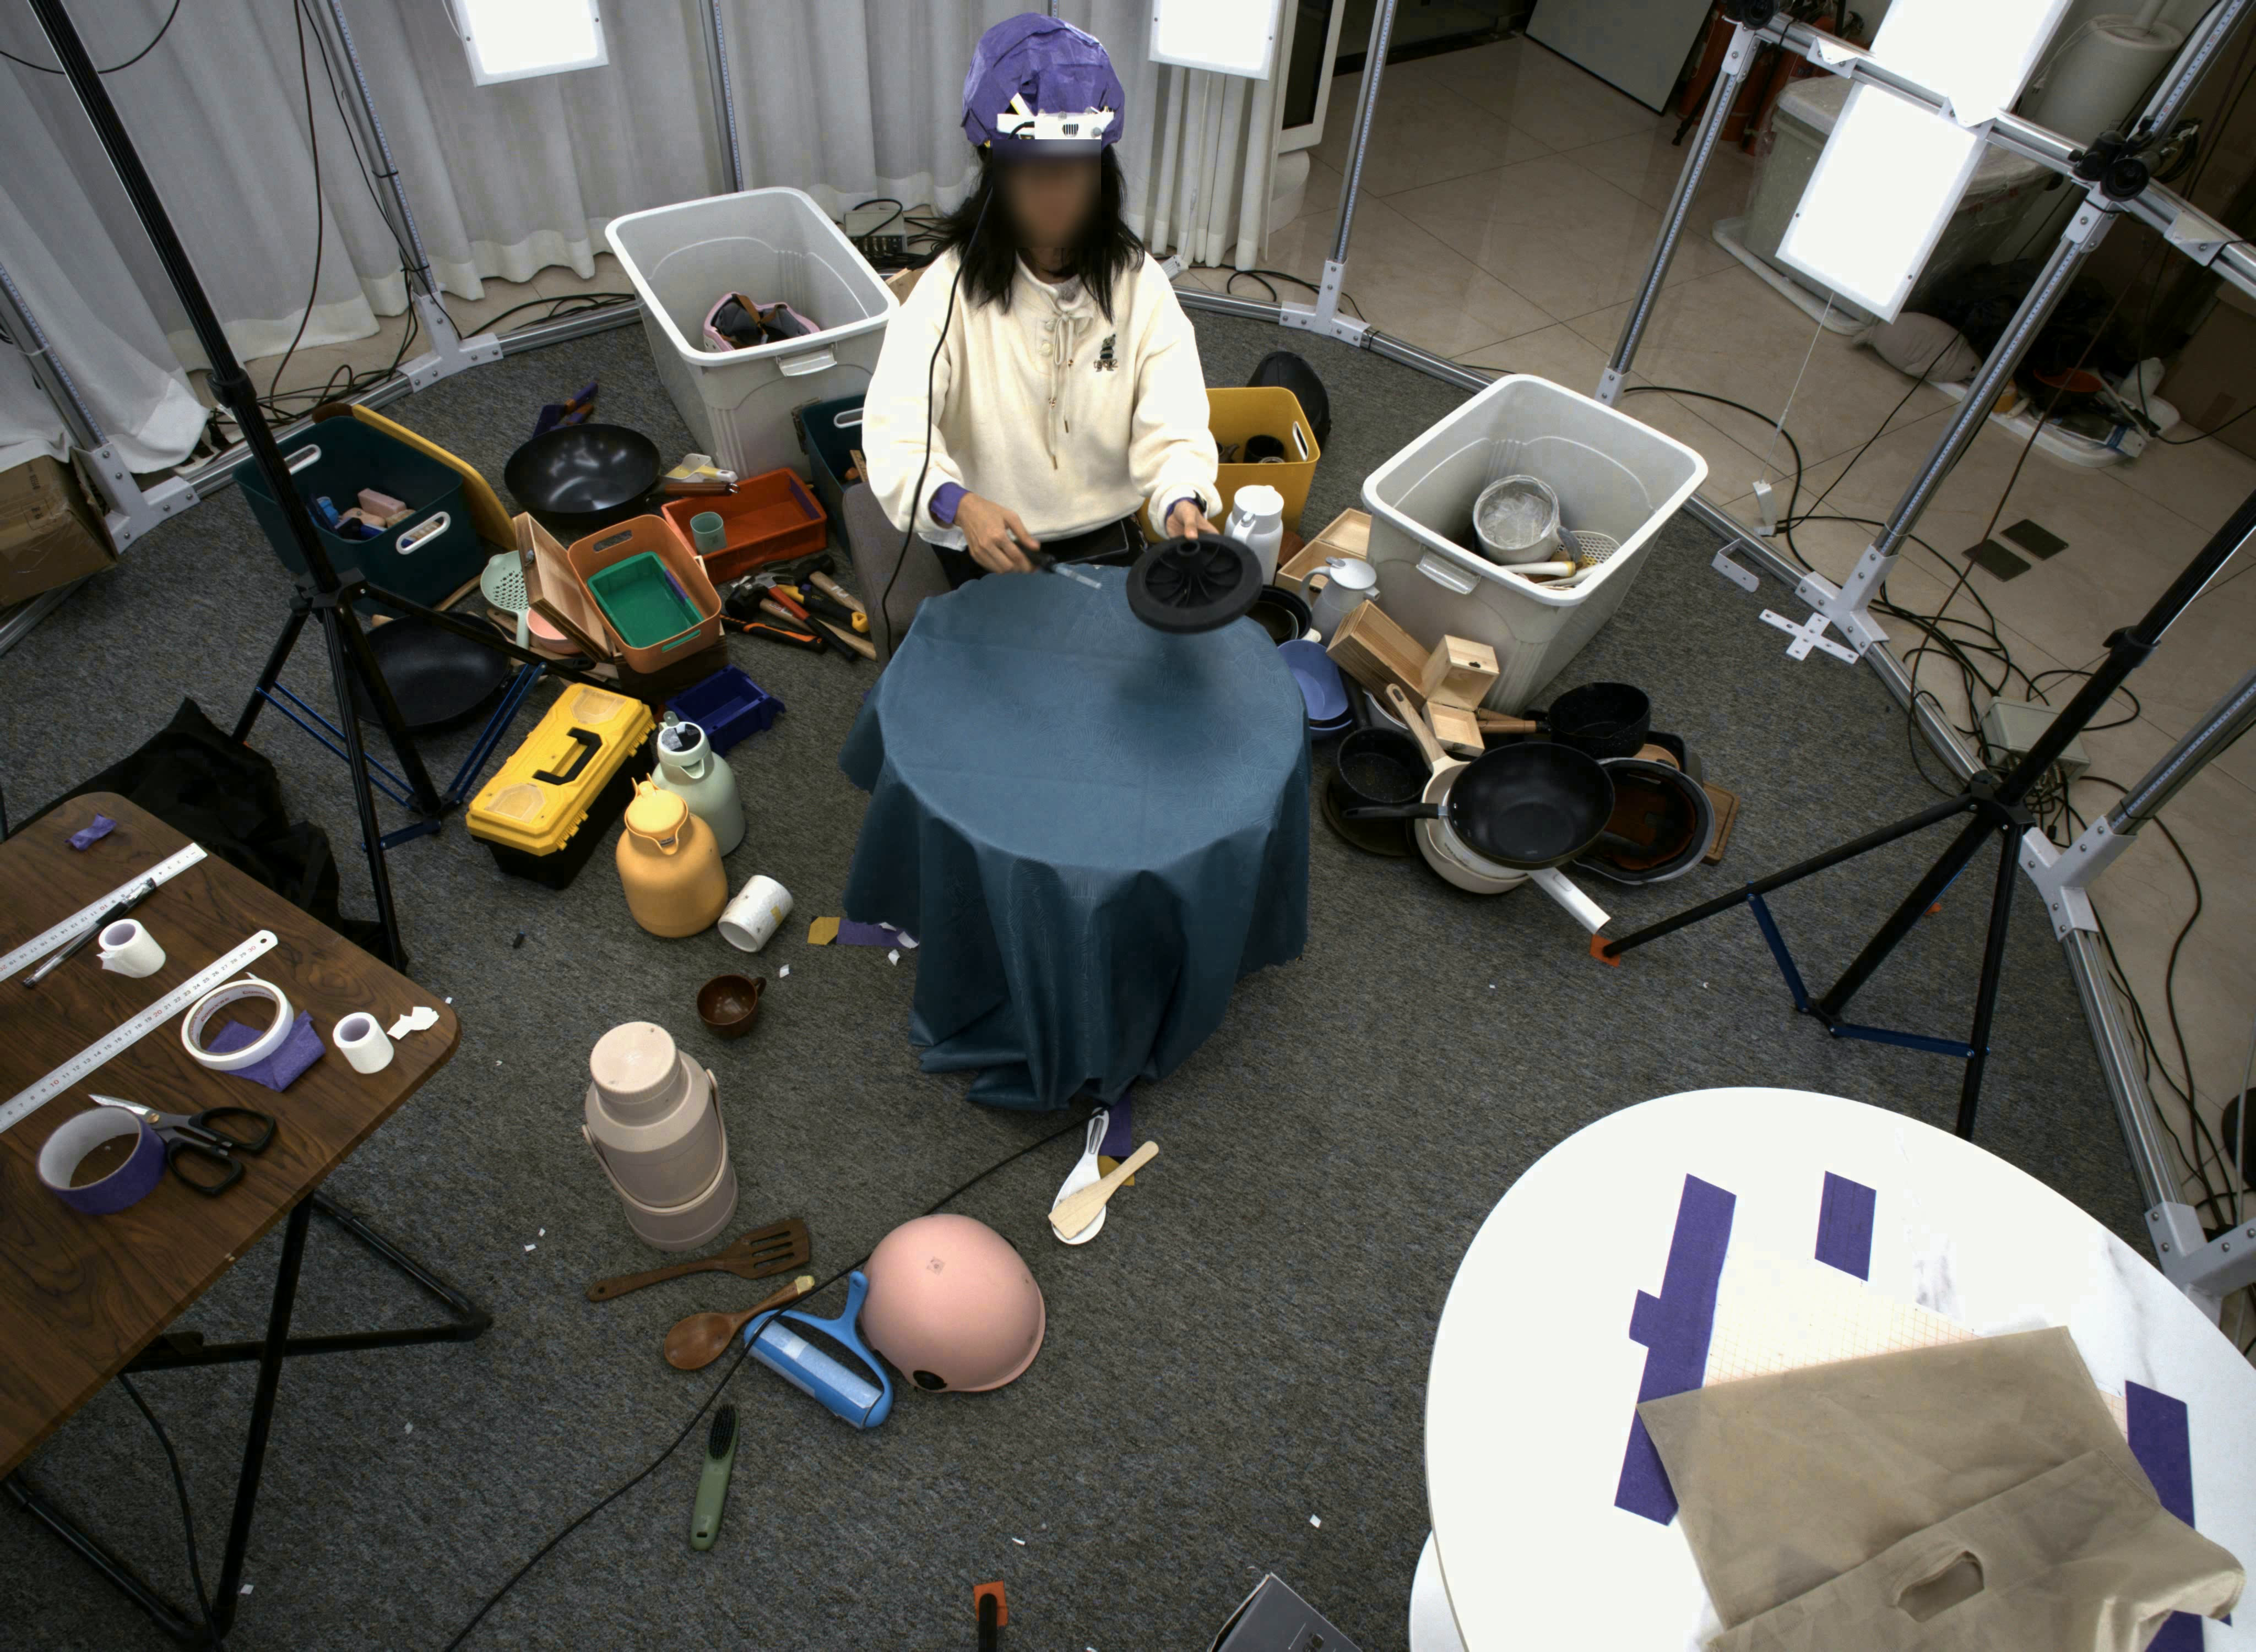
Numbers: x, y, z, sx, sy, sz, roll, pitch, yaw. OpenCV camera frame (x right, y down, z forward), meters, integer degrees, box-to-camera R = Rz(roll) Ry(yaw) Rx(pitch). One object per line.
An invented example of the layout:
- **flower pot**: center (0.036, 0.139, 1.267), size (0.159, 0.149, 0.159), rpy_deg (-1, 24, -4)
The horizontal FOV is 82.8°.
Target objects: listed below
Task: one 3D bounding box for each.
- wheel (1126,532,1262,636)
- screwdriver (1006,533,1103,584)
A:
- **wheel**: center (0.087, -0.347, 1.750), size (0.188, 0.077, 0.194), rpy_deg (3, 53, 15)
- **screwdriver**: center (-0.101, -0.367, 1.767), size (0.032, 0.031, 0.199), rpy_deg (-33, 43, -28)
